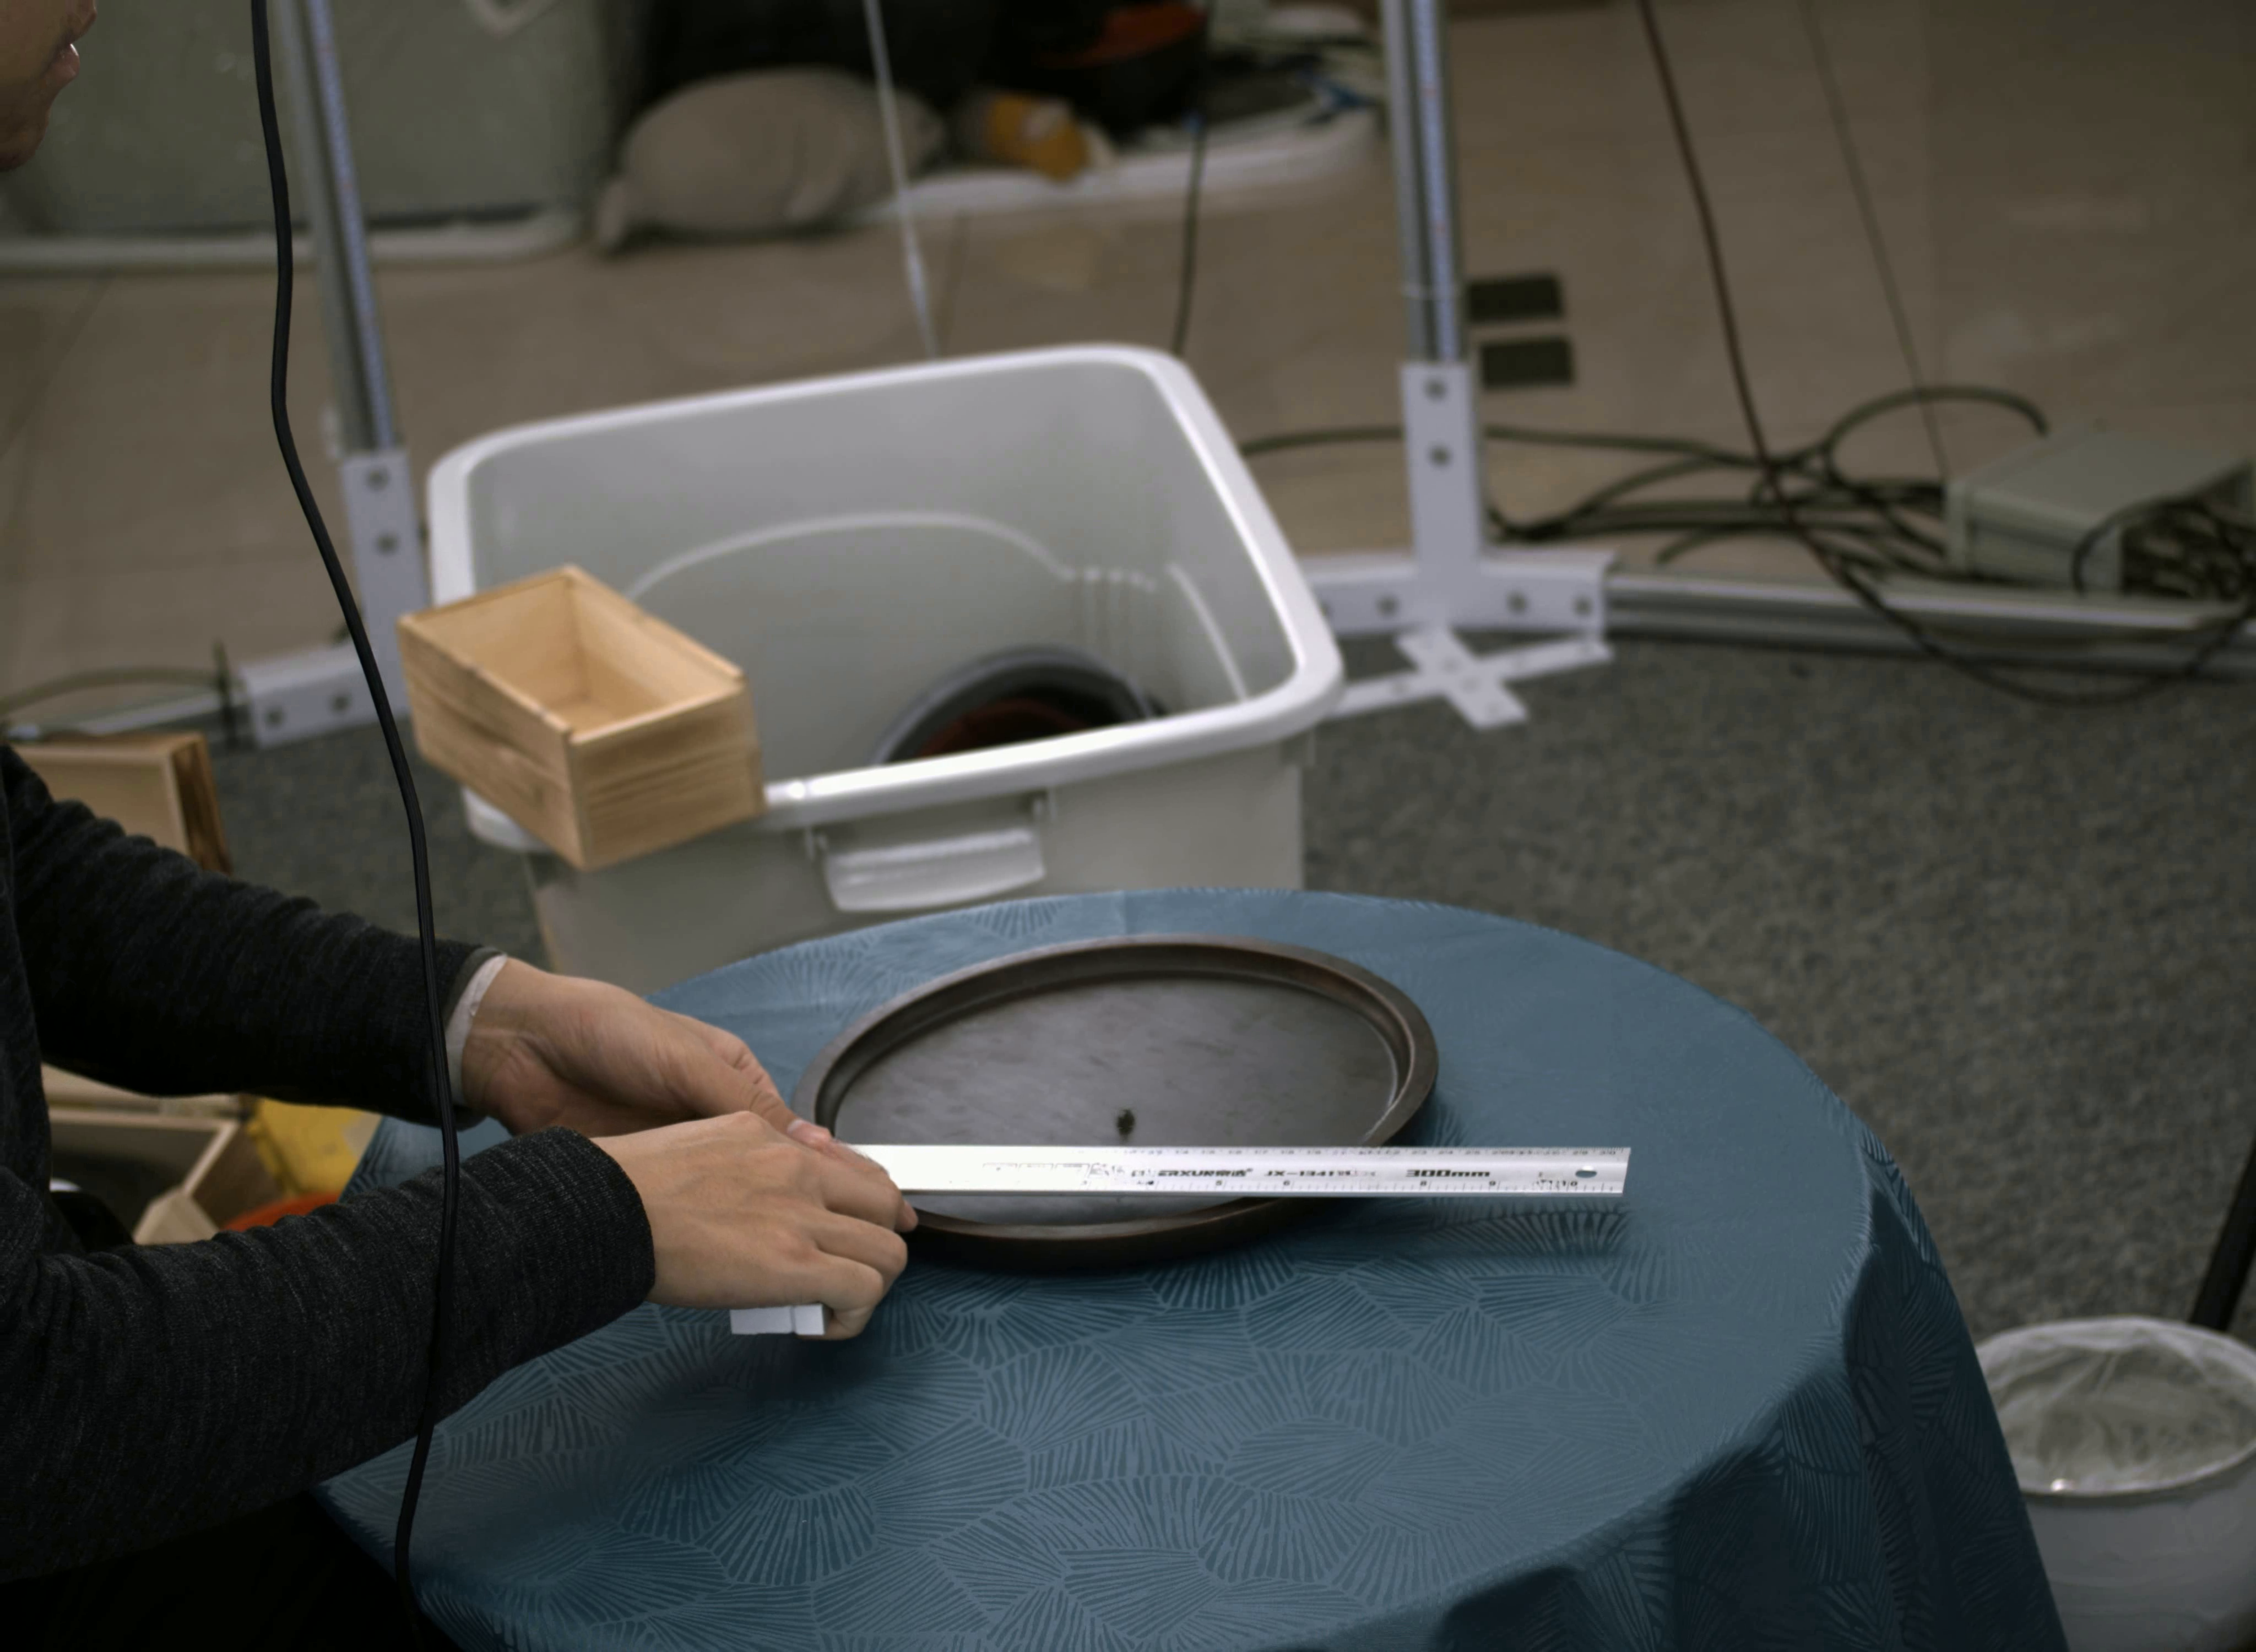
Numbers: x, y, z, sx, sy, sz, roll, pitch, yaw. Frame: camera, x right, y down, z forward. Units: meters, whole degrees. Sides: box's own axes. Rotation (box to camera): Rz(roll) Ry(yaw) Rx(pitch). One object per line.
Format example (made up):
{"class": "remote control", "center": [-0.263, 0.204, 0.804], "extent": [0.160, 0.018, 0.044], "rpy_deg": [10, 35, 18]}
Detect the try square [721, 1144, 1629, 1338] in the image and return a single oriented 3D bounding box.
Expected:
{"class": "try square", "center": [0.019, 0.148, 2.057], "extent": [0.312, 0.016, 0.150], "rpy_deg": [0, 22, 10]}

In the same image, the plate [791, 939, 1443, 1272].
{"class": "plate", "center": [-0.004, 0.106, 2.191], "extent": [0.254, 0.029, 0.251], "rpy_deg": [-4, 25, 2]}
